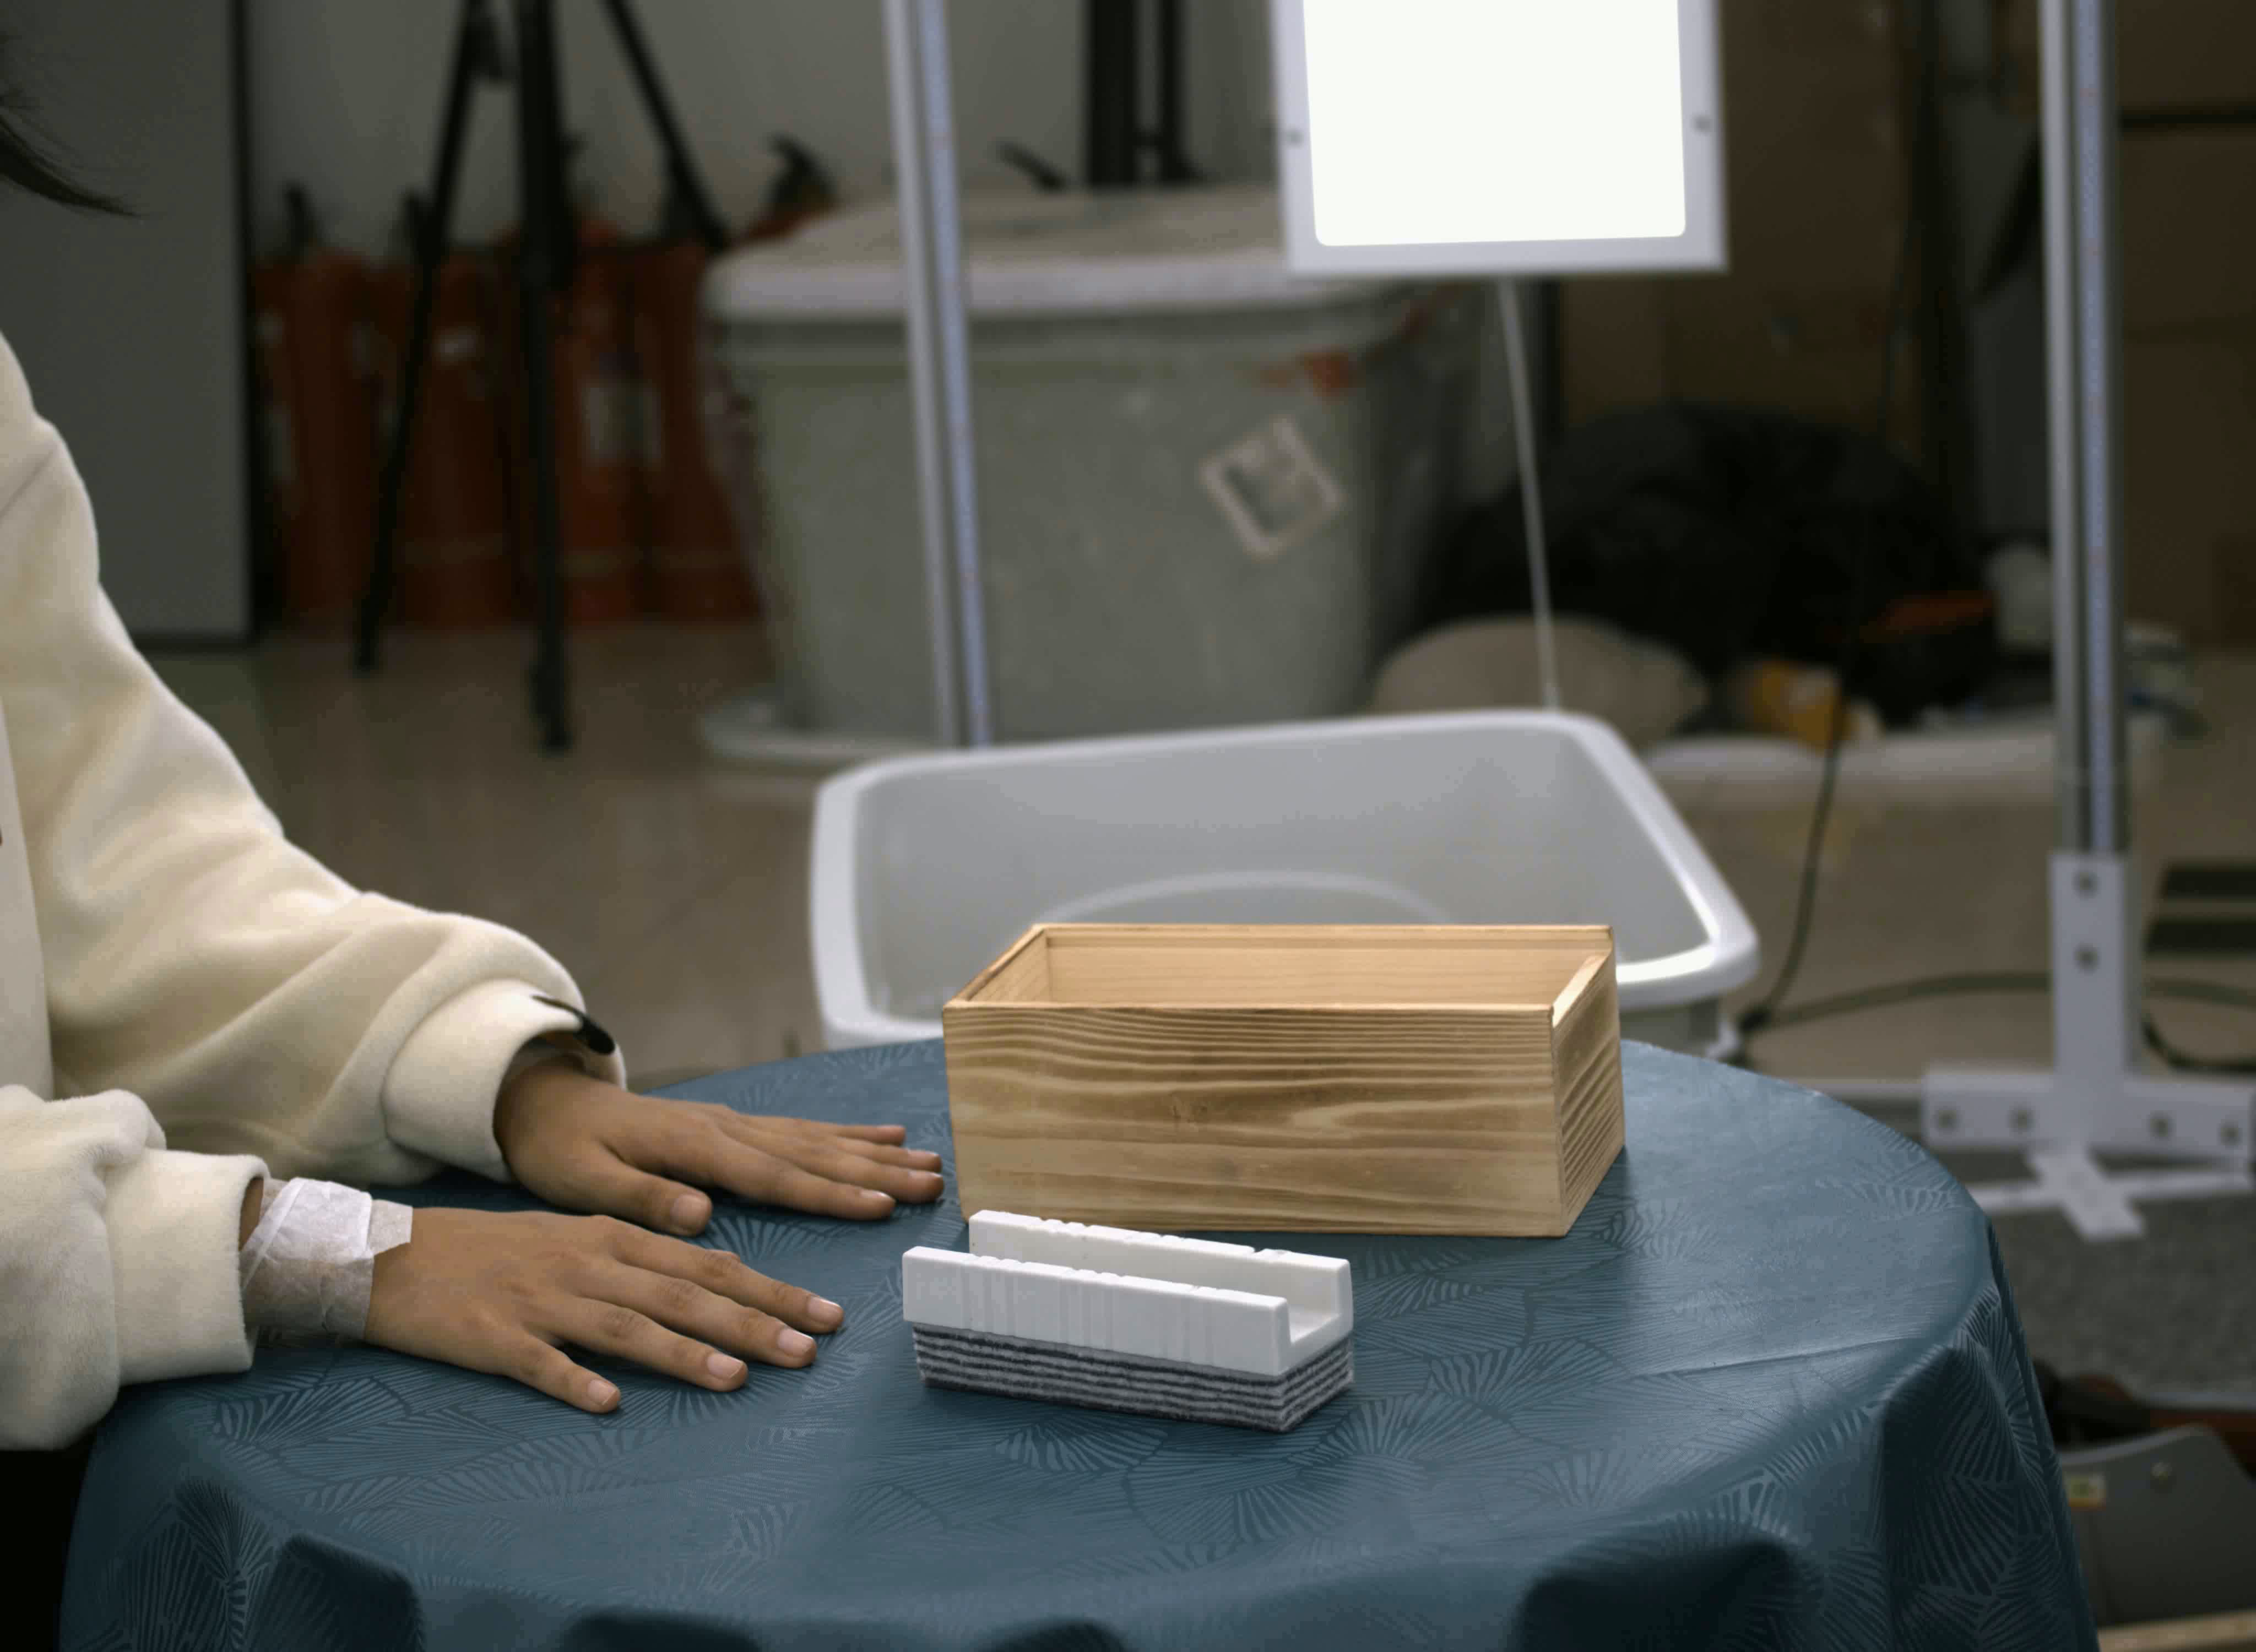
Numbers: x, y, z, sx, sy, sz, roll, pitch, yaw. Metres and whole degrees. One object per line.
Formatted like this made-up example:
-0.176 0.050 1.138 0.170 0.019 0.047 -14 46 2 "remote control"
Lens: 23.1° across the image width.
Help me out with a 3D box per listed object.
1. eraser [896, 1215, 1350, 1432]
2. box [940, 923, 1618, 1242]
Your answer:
-0.001 0.152 1.696 0.137 0.047 0.048 5 19 30 "eraser"
0.053 0.086 1.880 0.214 0.080 0.106 0 14 18 "box"
